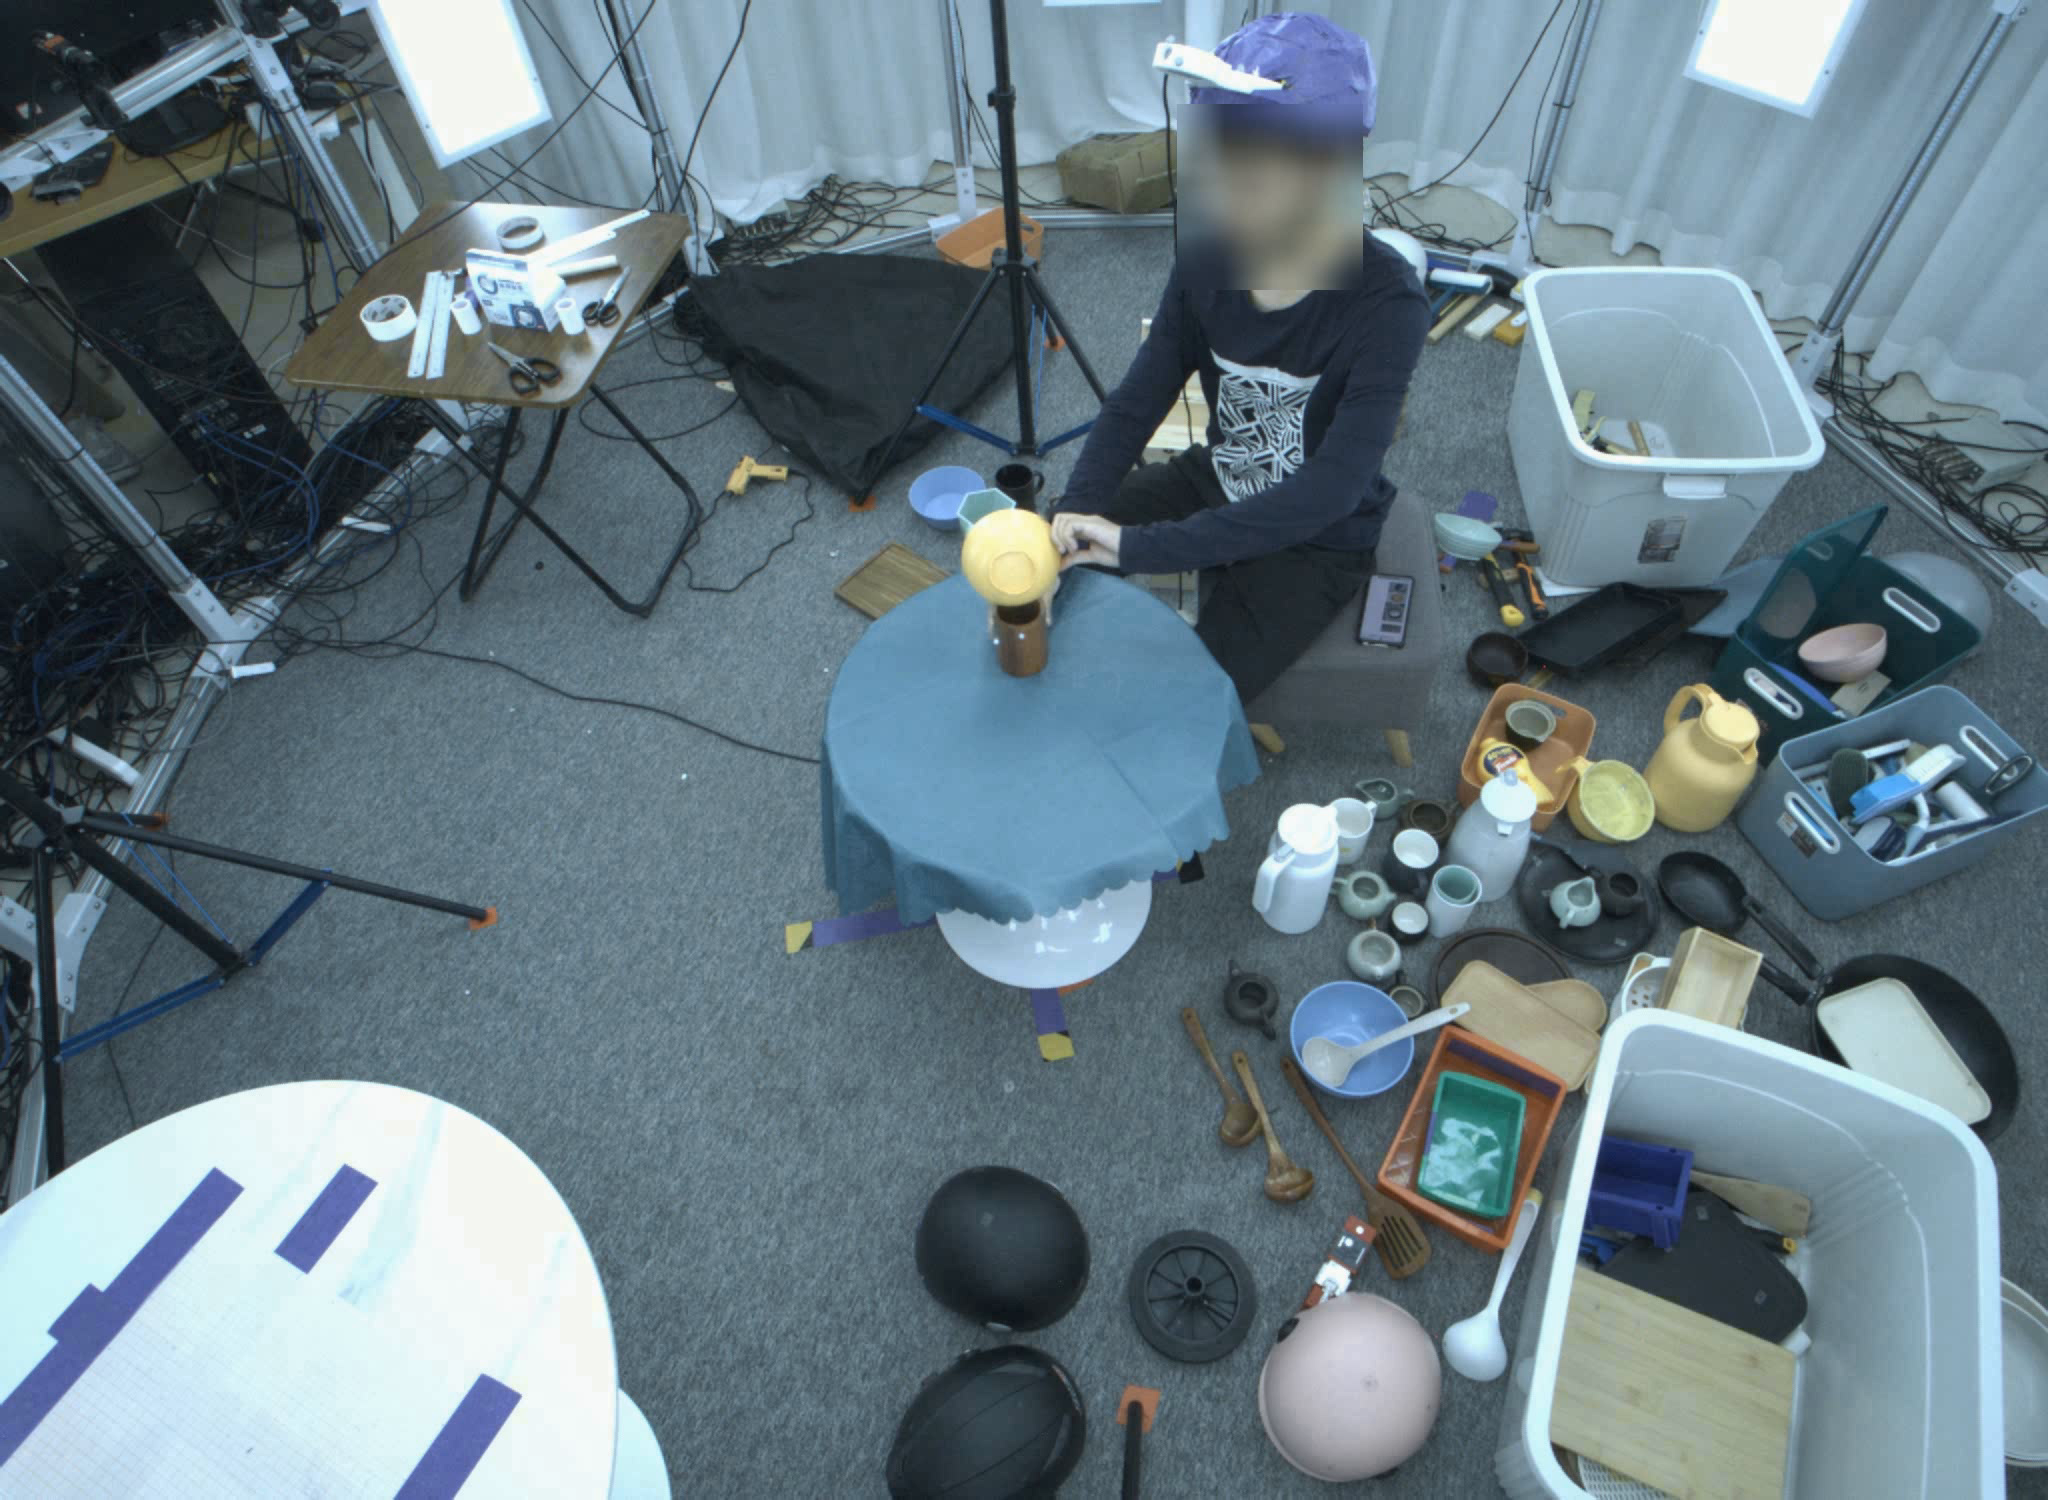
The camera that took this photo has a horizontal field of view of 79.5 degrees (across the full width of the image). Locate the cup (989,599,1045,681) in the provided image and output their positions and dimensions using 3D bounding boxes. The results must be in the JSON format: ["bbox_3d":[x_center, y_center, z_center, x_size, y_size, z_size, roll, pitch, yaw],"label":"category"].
[{"bbox_3d":[-0.010,-0.170,1.829,0.088,0.119,0.087,0,57,1],"label":"cup"}]

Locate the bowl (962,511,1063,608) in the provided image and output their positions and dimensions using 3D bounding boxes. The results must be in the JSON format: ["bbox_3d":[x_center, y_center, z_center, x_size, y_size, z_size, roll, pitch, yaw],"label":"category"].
[{"bbox_3d":[-0.018,-0.258,1.720,0.145,0.146,0.059,-3,27,1],"label":"bowl"}]
